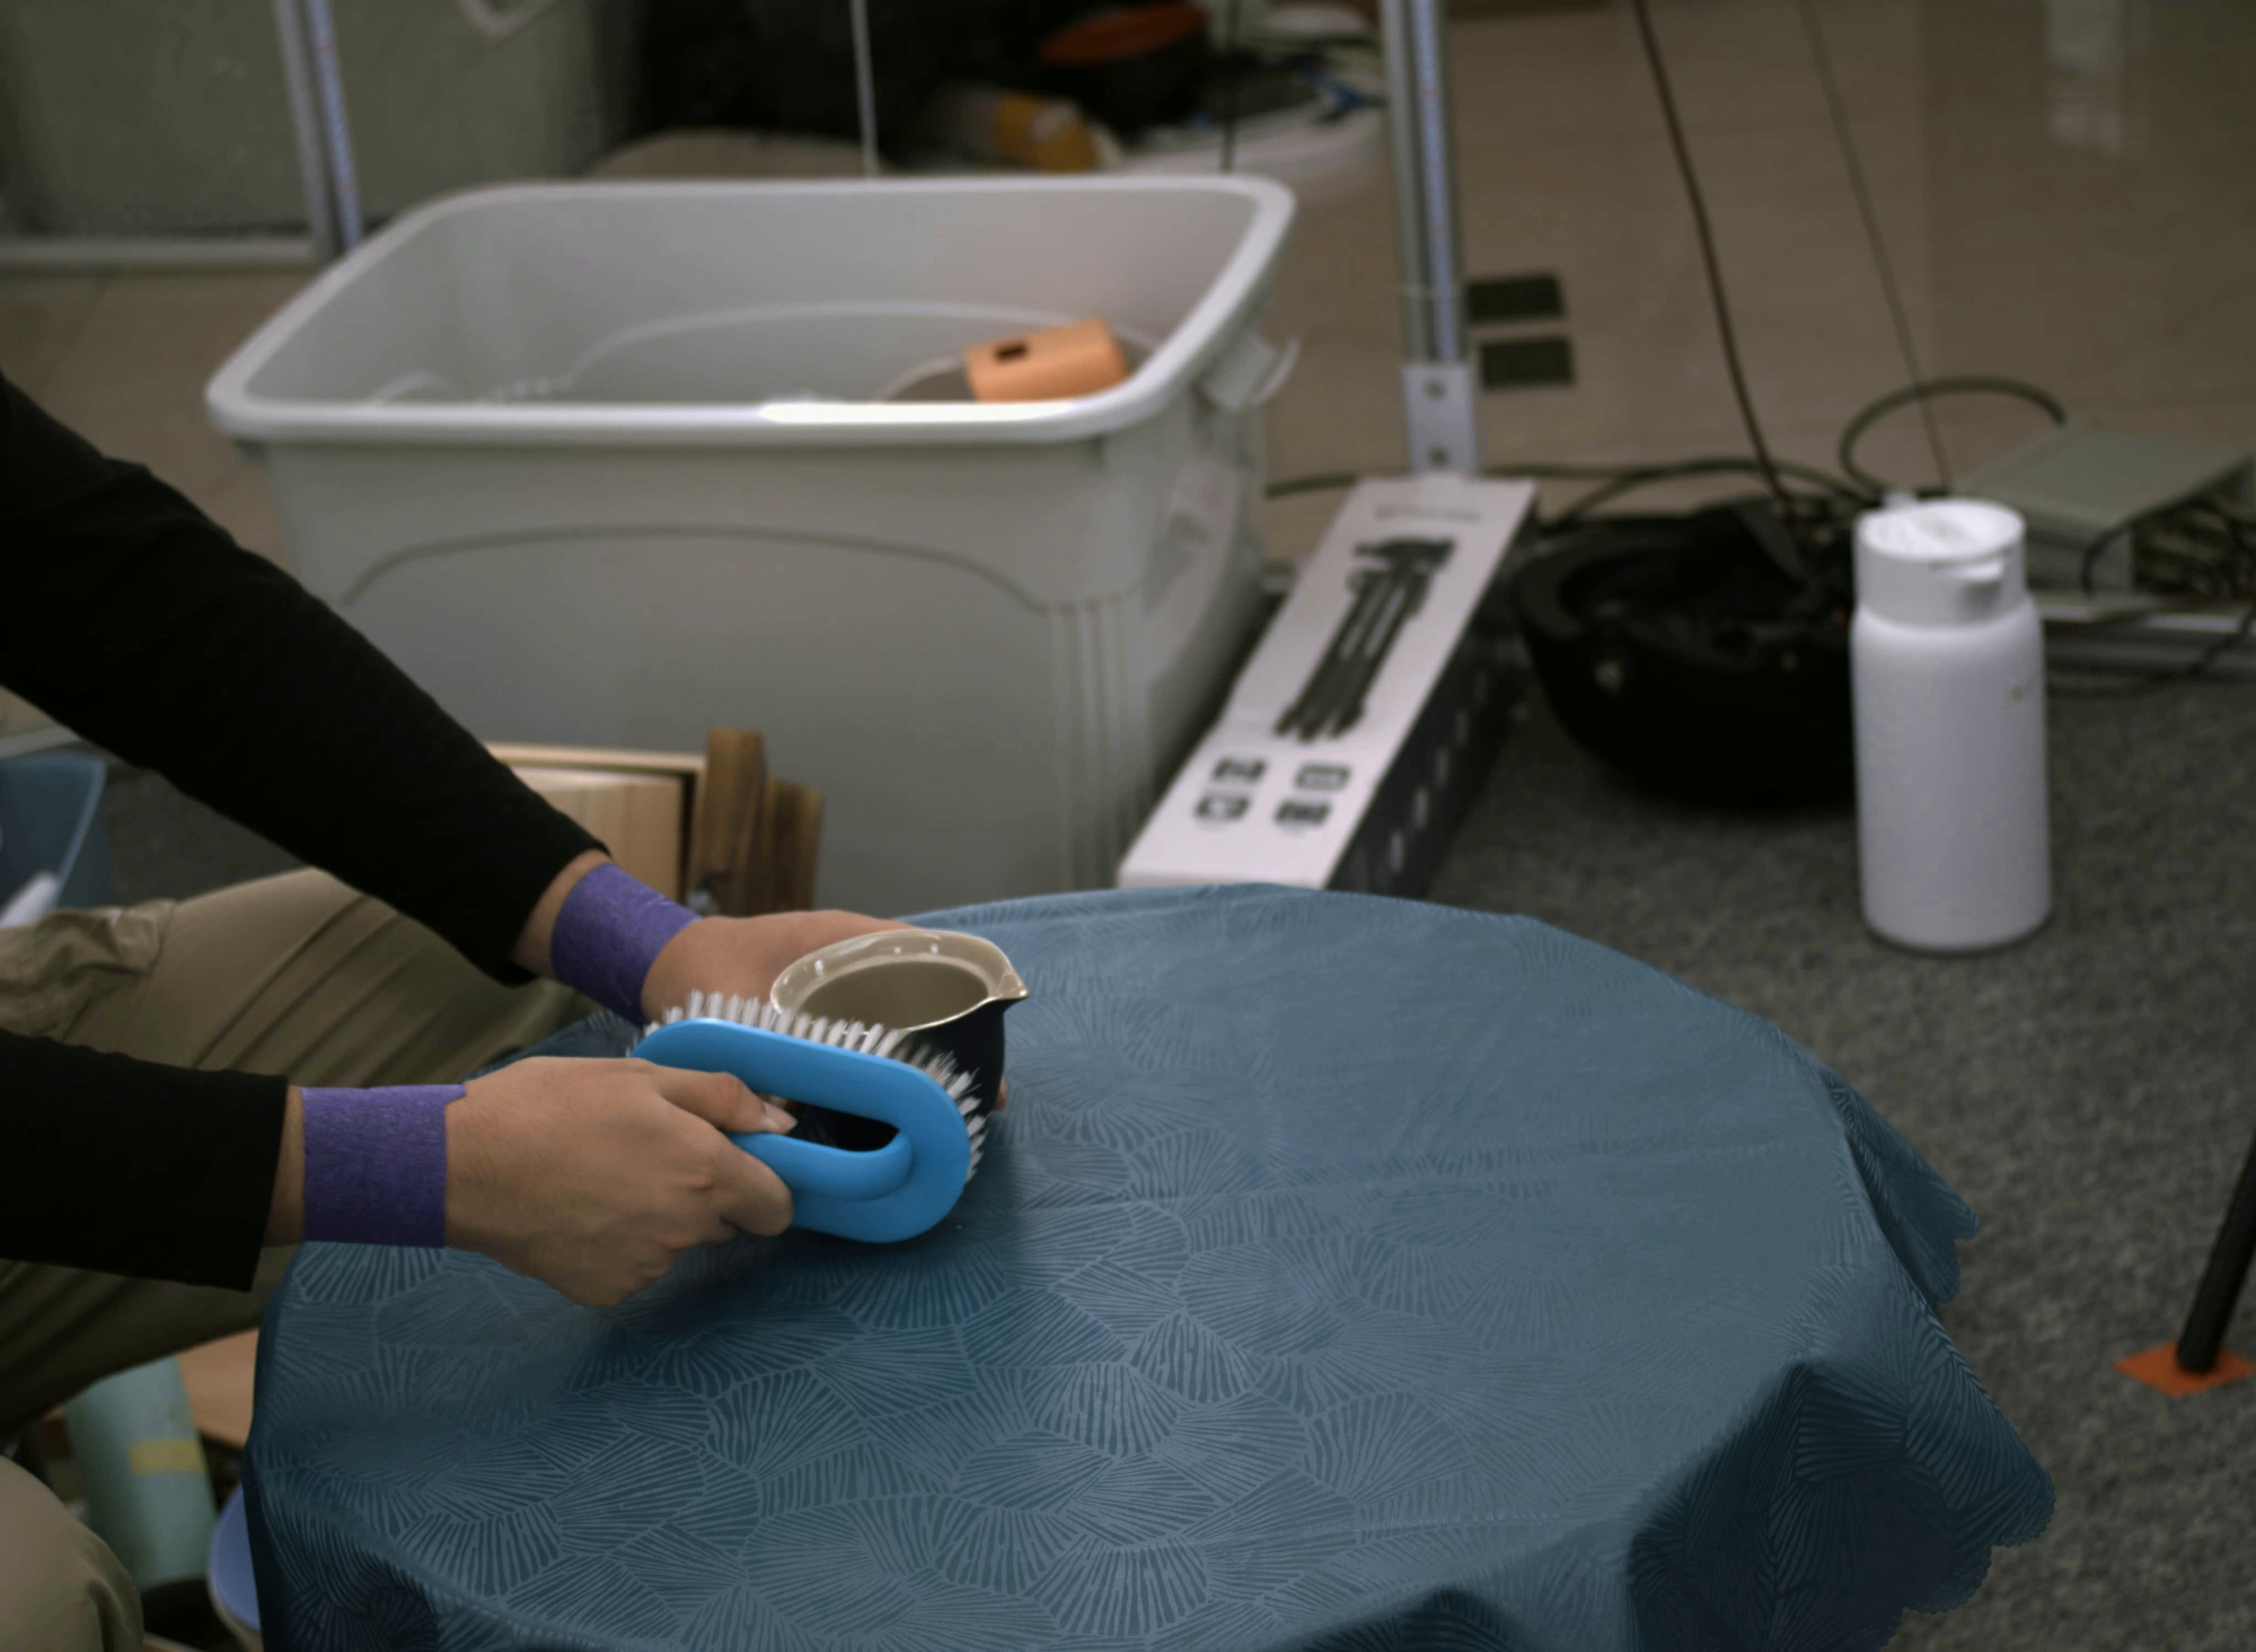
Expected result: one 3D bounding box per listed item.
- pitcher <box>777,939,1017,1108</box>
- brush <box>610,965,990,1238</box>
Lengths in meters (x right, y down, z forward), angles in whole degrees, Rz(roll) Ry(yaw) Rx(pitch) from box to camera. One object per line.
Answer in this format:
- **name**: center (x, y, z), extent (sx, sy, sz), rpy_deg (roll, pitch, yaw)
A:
- **pitcher**: center (-0.086, 0.088, 2.185), extent (0.095, 0.072, 0.082), rpy_deg (6, 25, 21)
- **brush**: center (-0.126, 0.110, 2.109), extent (0.141, 0.085, 0.063), rpy_deg (16, 26, 3)
